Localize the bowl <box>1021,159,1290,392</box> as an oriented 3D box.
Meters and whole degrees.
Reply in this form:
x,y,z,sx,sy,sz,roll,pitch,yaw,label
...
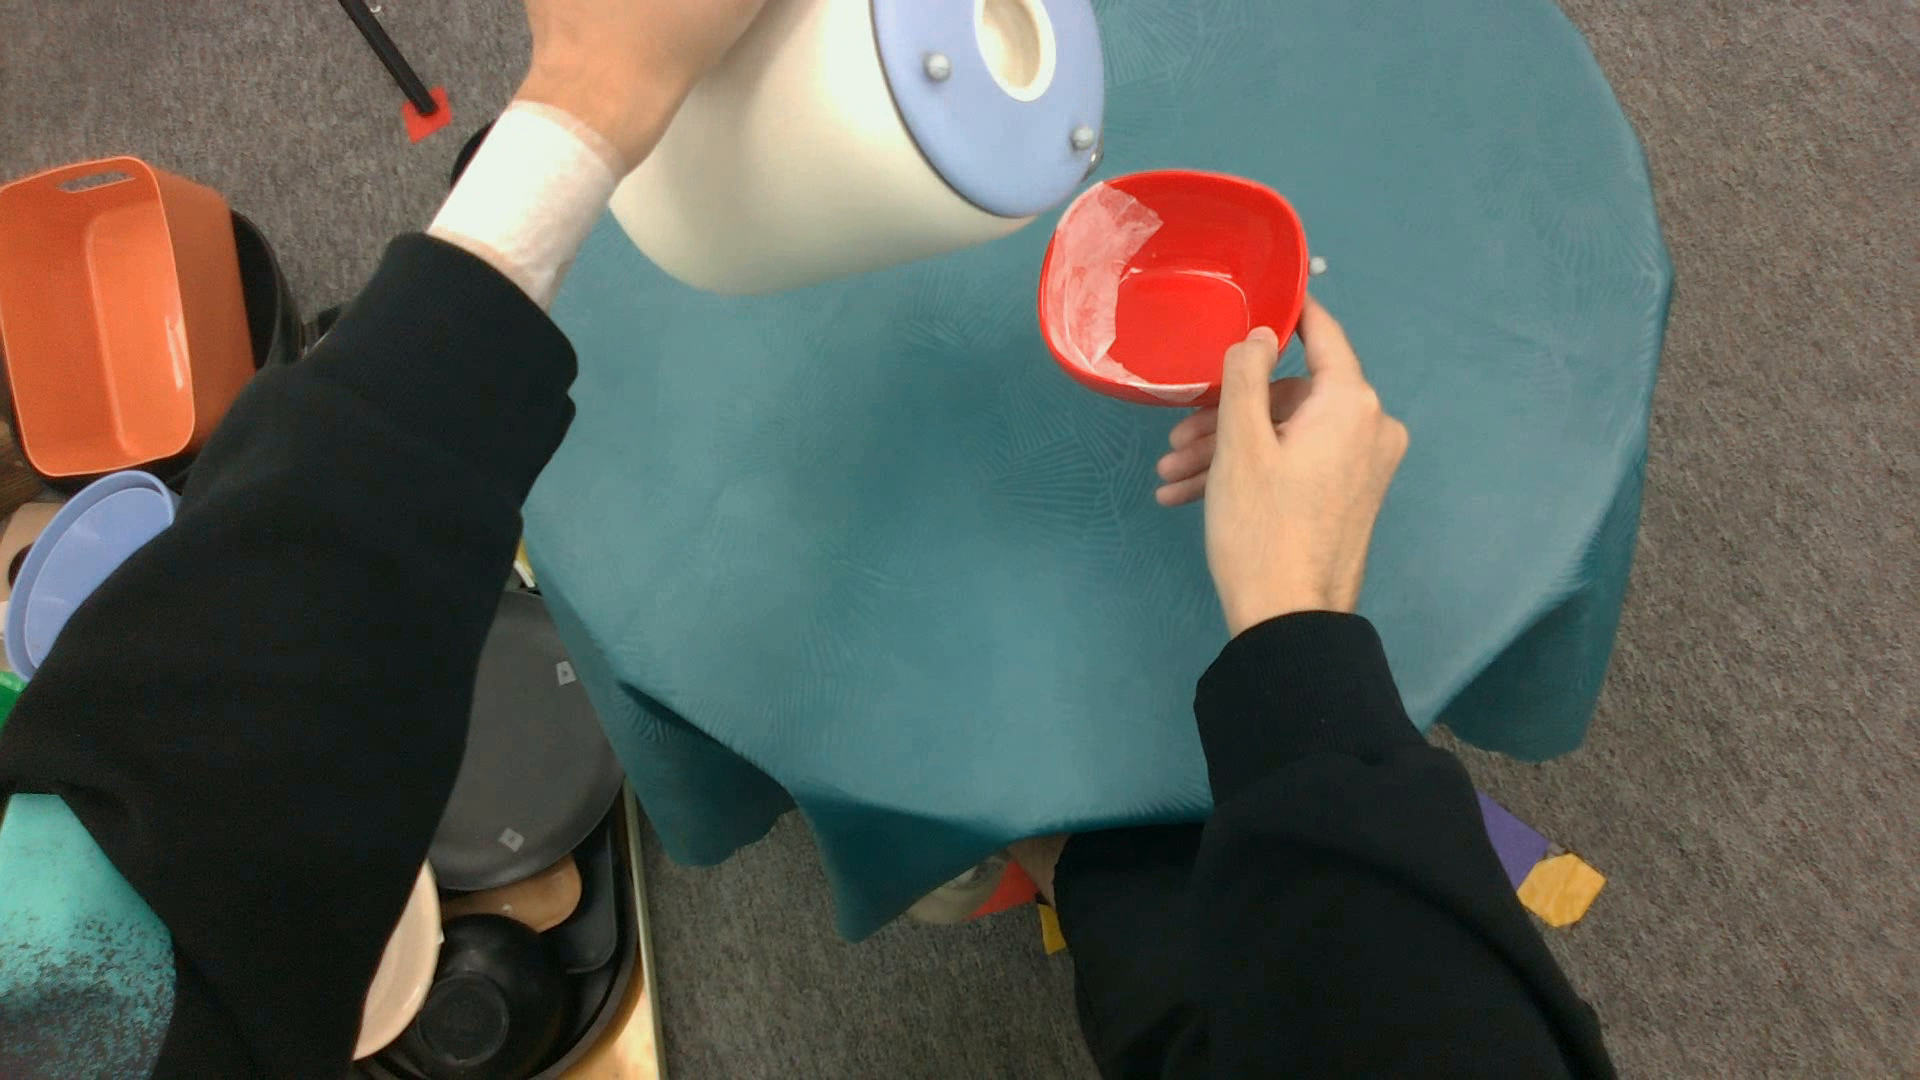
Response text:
x,y,z,sx,sy,sz,roll,pitch,yaw,label
0.084,-0.106,0.595,0.119,0.051,0.119,-3,62,5,bowl

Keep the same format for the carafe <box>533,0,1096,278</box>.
x,y,z,sx,sy,sz,roll,pitch,yaw,label
-0.066,-0.186,0.519,0.182,0.191,0.132,-3,69,41,carafe
